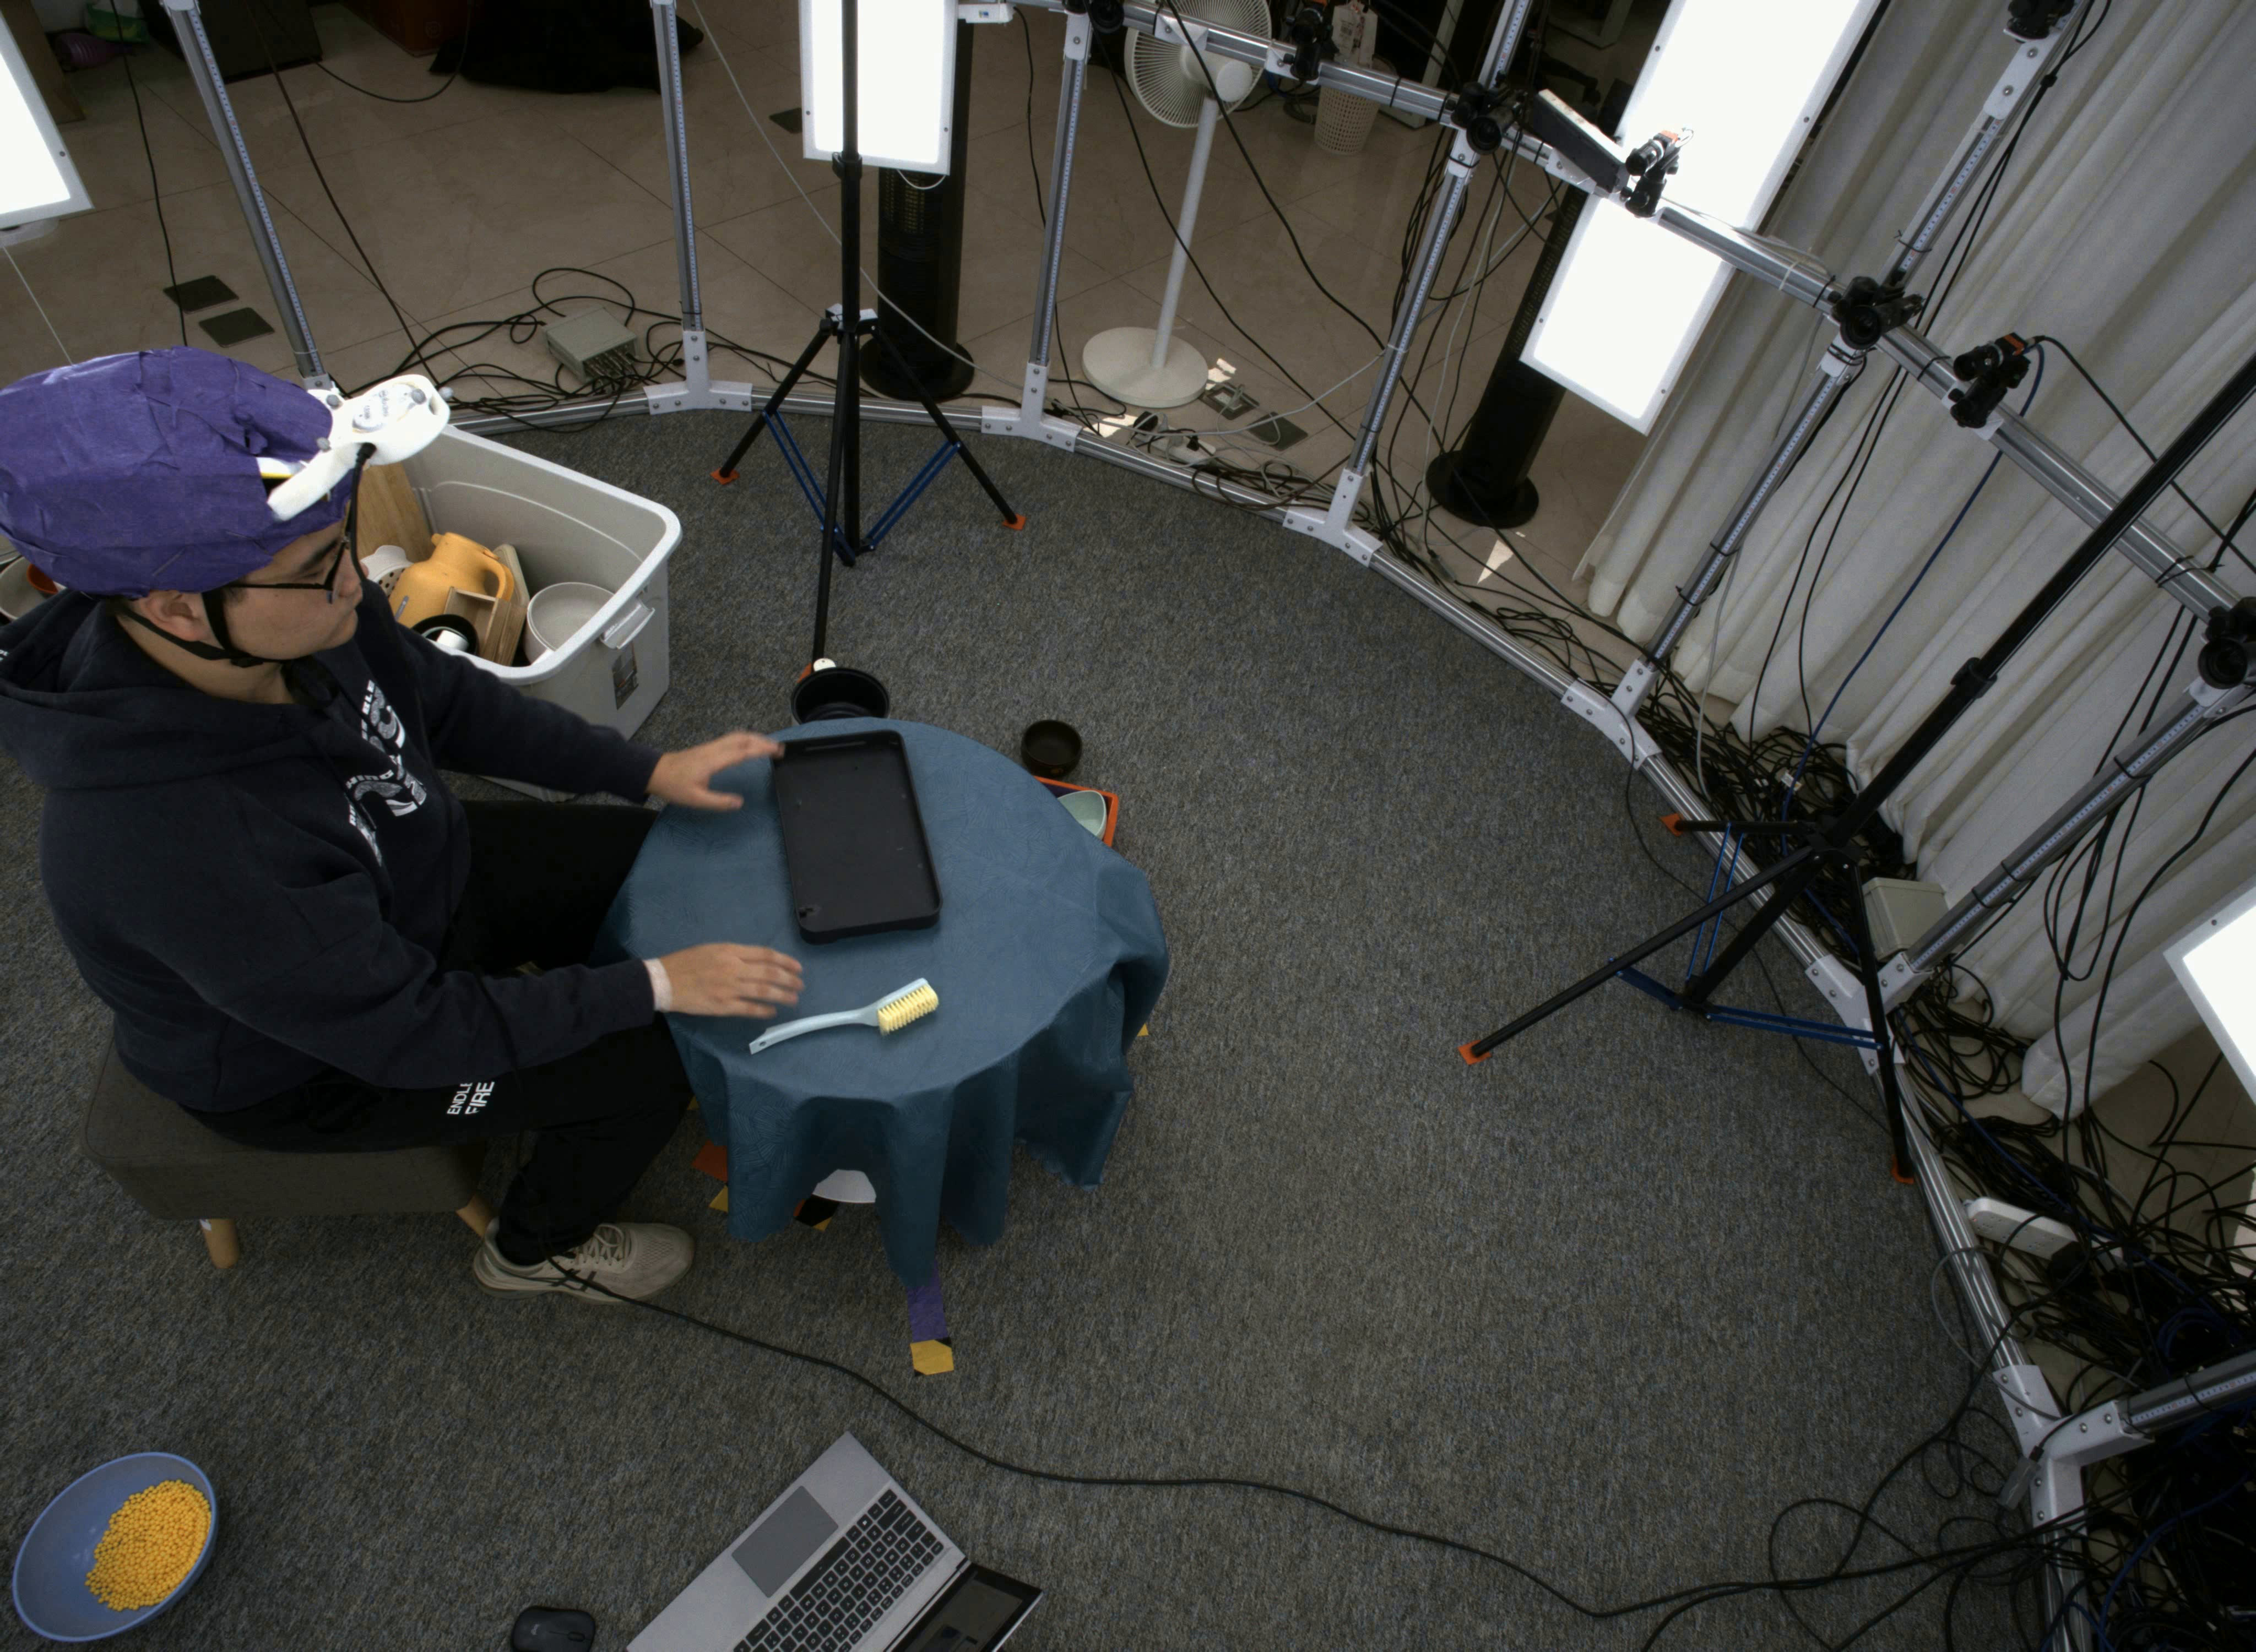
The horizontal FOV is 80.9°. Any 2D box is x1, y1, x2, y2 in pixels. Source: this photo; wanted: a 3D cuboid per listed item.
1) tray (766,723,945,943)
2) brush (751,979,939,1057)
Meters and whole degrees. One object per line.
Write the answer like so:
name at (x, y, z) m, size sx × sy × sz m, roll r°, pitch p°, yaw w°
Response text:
tray at (-0.362, 0.002, 1.711) m, size 0.185 × 0.038 × 0.310 m, roll -9°, pitch 57°, yaw -19°
brush at (-0.334, 0.233, 1.543) m, size 0.230 × 0.039 × 0.048 m, roll -14°, pitch 51°, yaw -24°
